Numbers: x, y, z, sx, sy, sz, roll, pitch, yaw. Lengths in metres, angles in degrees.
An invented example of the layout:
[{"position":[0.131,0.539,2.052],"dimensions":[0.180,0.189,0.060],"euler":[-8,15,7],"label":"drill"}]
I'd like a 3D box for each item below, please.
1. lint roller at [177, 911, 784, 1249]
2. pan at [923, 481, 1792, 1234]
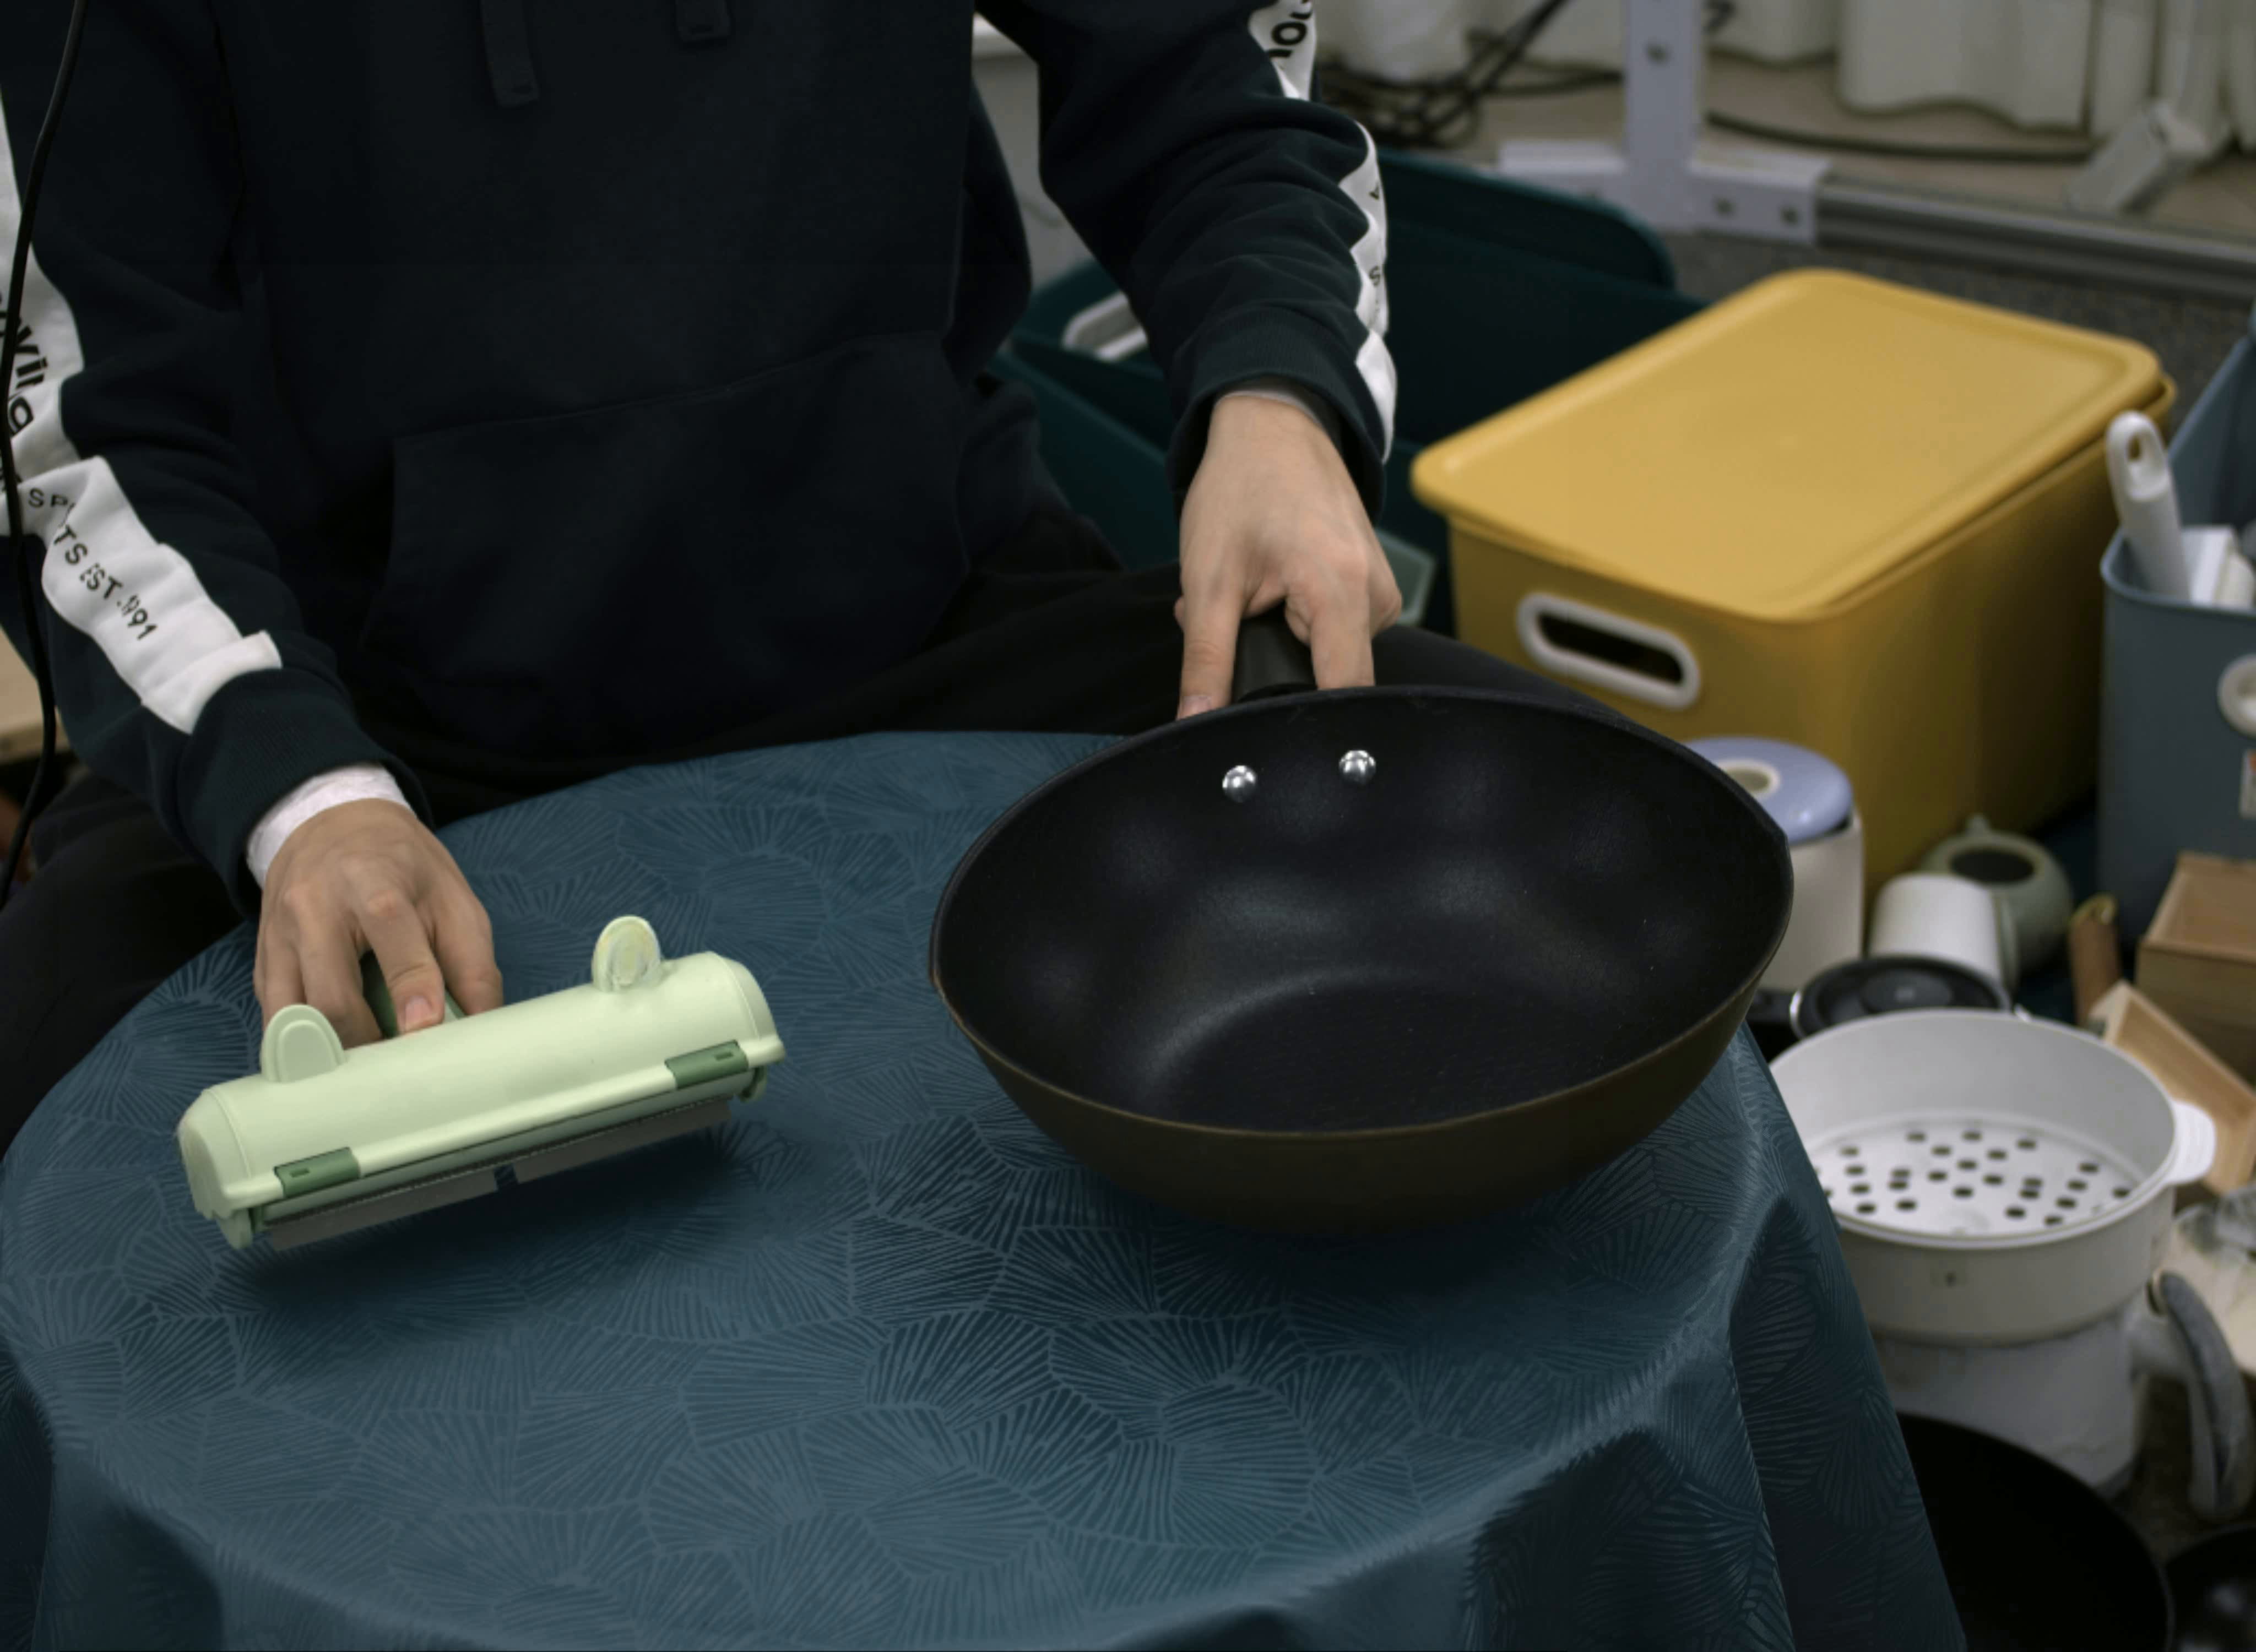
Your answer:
[{"position":[-0.237,0.059,1.887],"dimensions":[0.199,0.081,0.184],"euler":[-15,33,-22],"label":"lint roller"},{"position":[0.064,0.012,1.935],"dimensions":[0.287,0.086,0.469],"euler":[-8,29,-6],"label":"pan"}]
